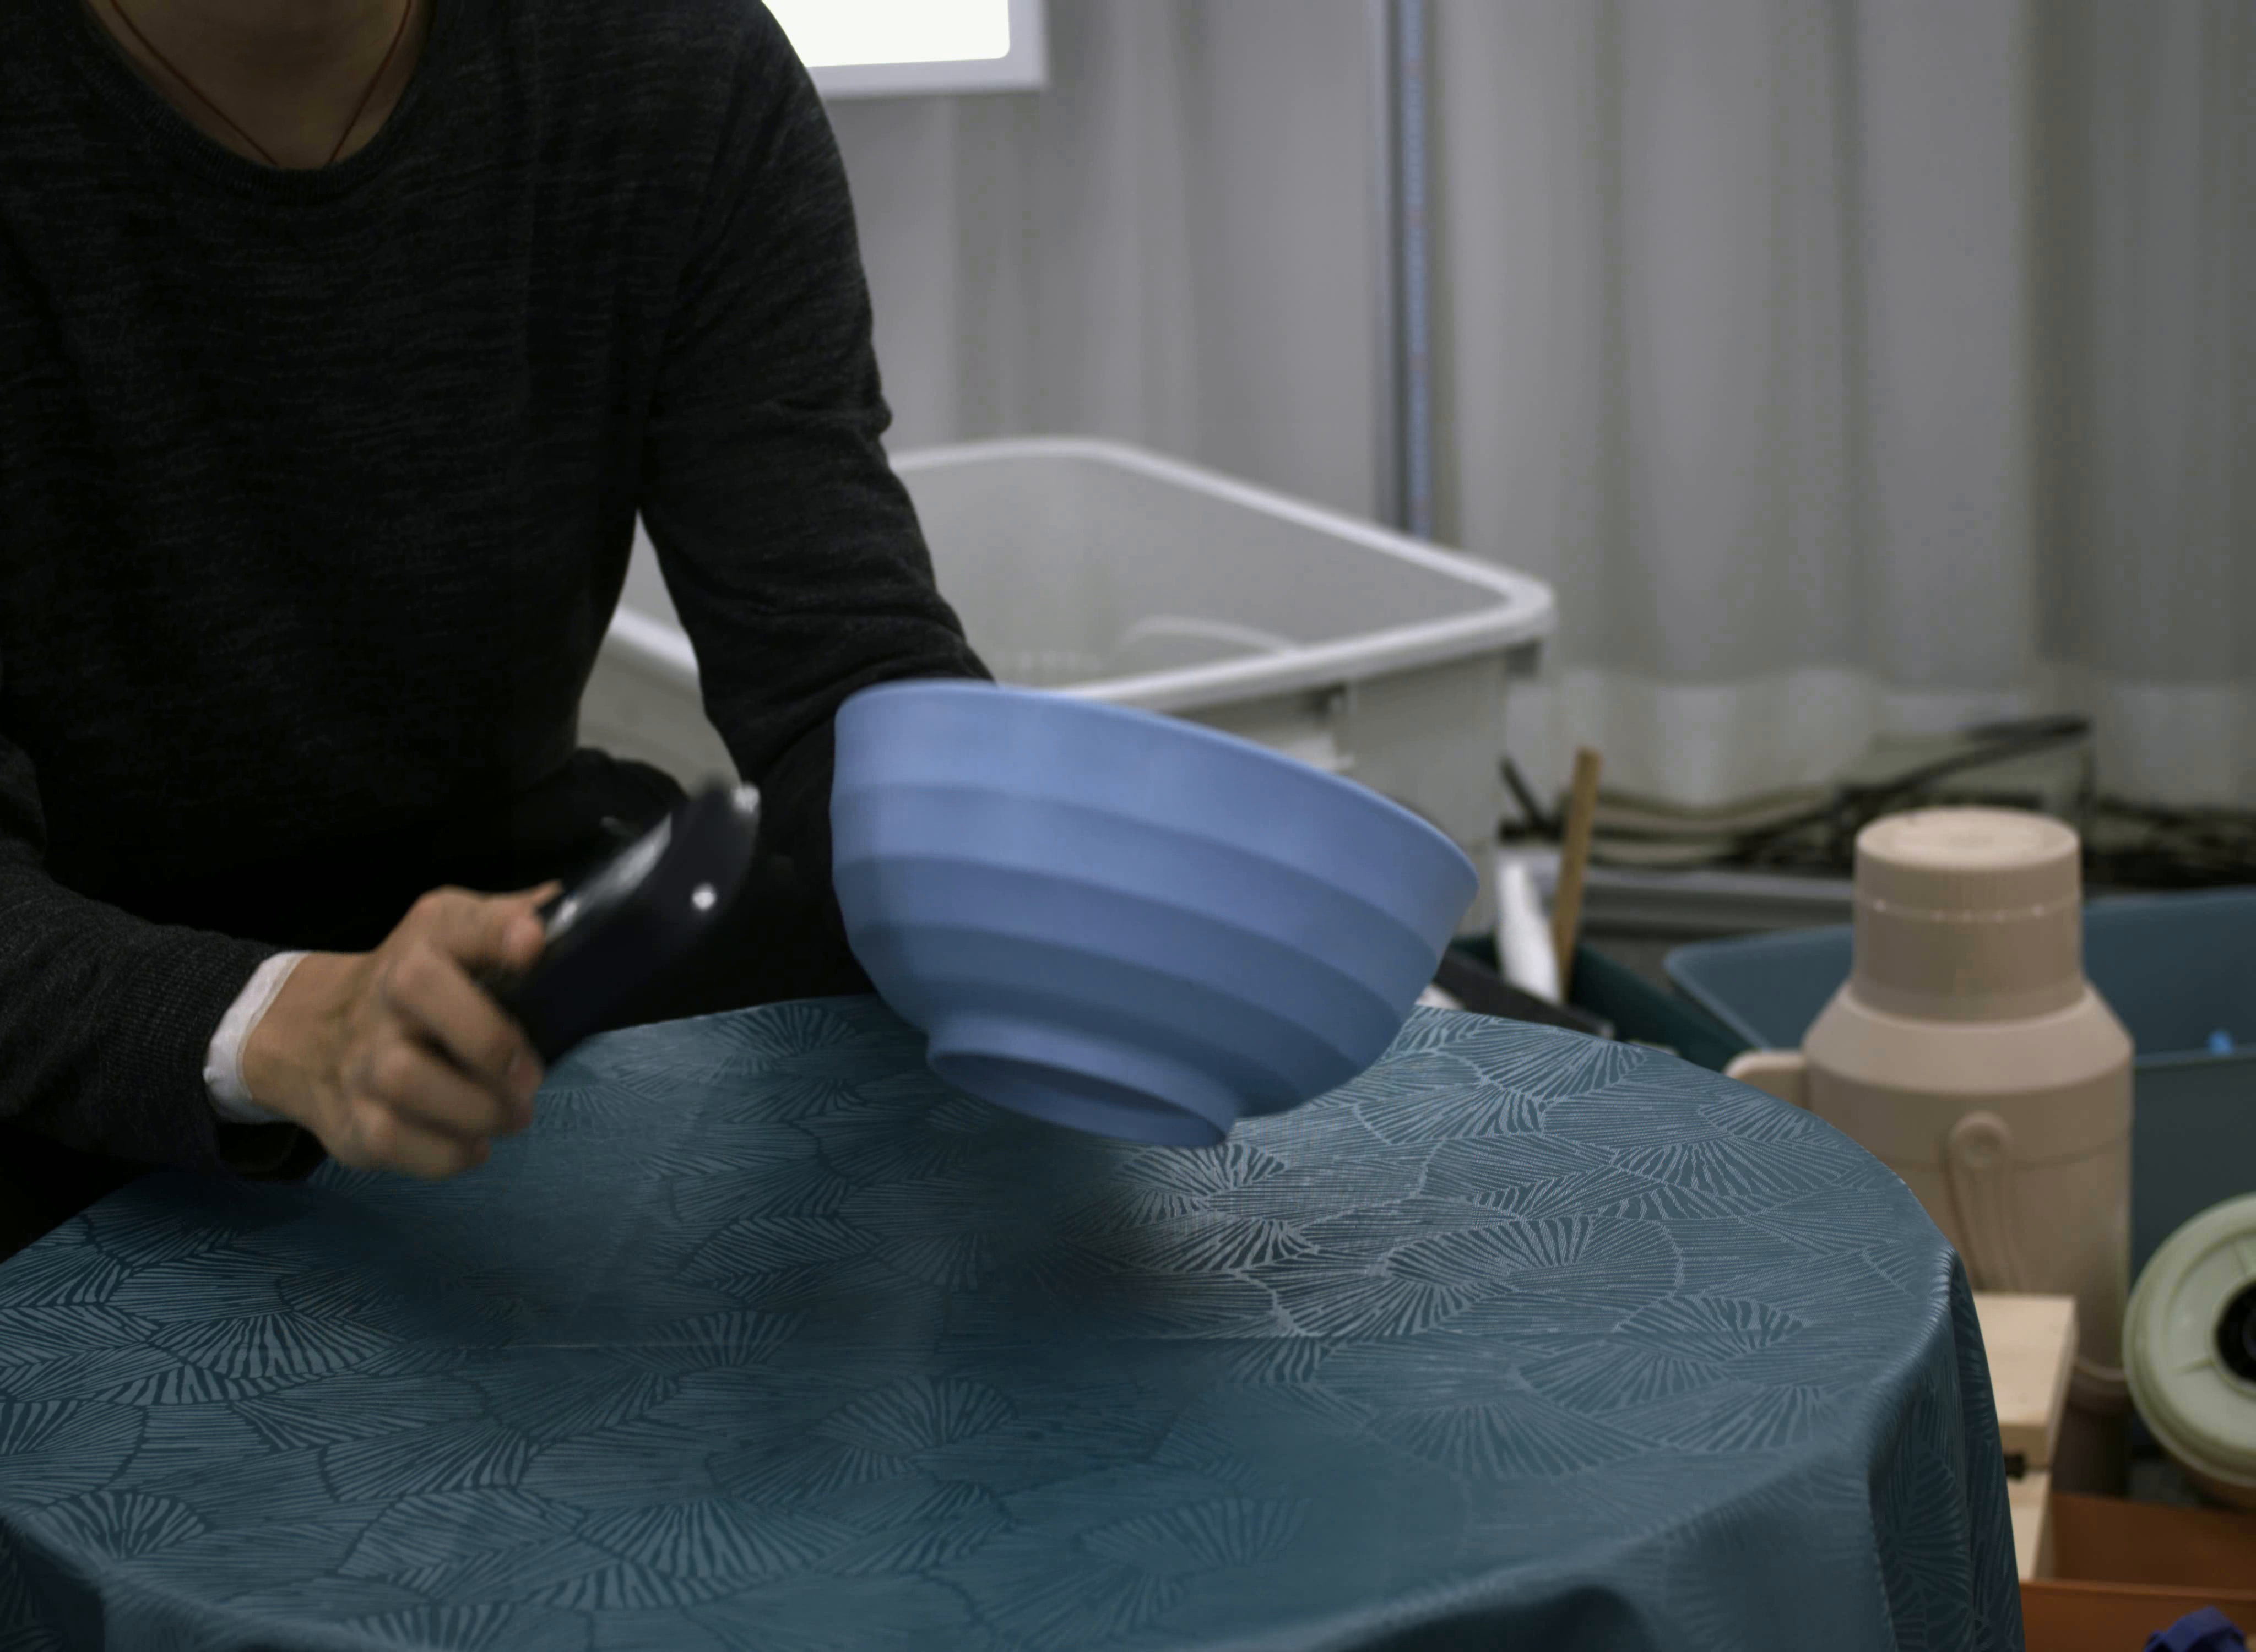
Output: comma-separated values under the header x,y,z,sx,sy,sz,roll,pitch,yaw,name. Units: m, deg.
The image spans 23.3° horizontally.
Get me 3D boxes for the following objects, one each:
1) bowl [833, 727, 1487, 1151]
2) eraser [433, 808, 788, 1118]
x,y,z,sx,sy,sz,roll,pitch,yaw,name
0.003,0.040,1.610,0.196,0.096,0.195,9,-11,1,bowl
-0.149,0.039,1.564,0.125,0.030,0.054,-32,19,46,eraser
